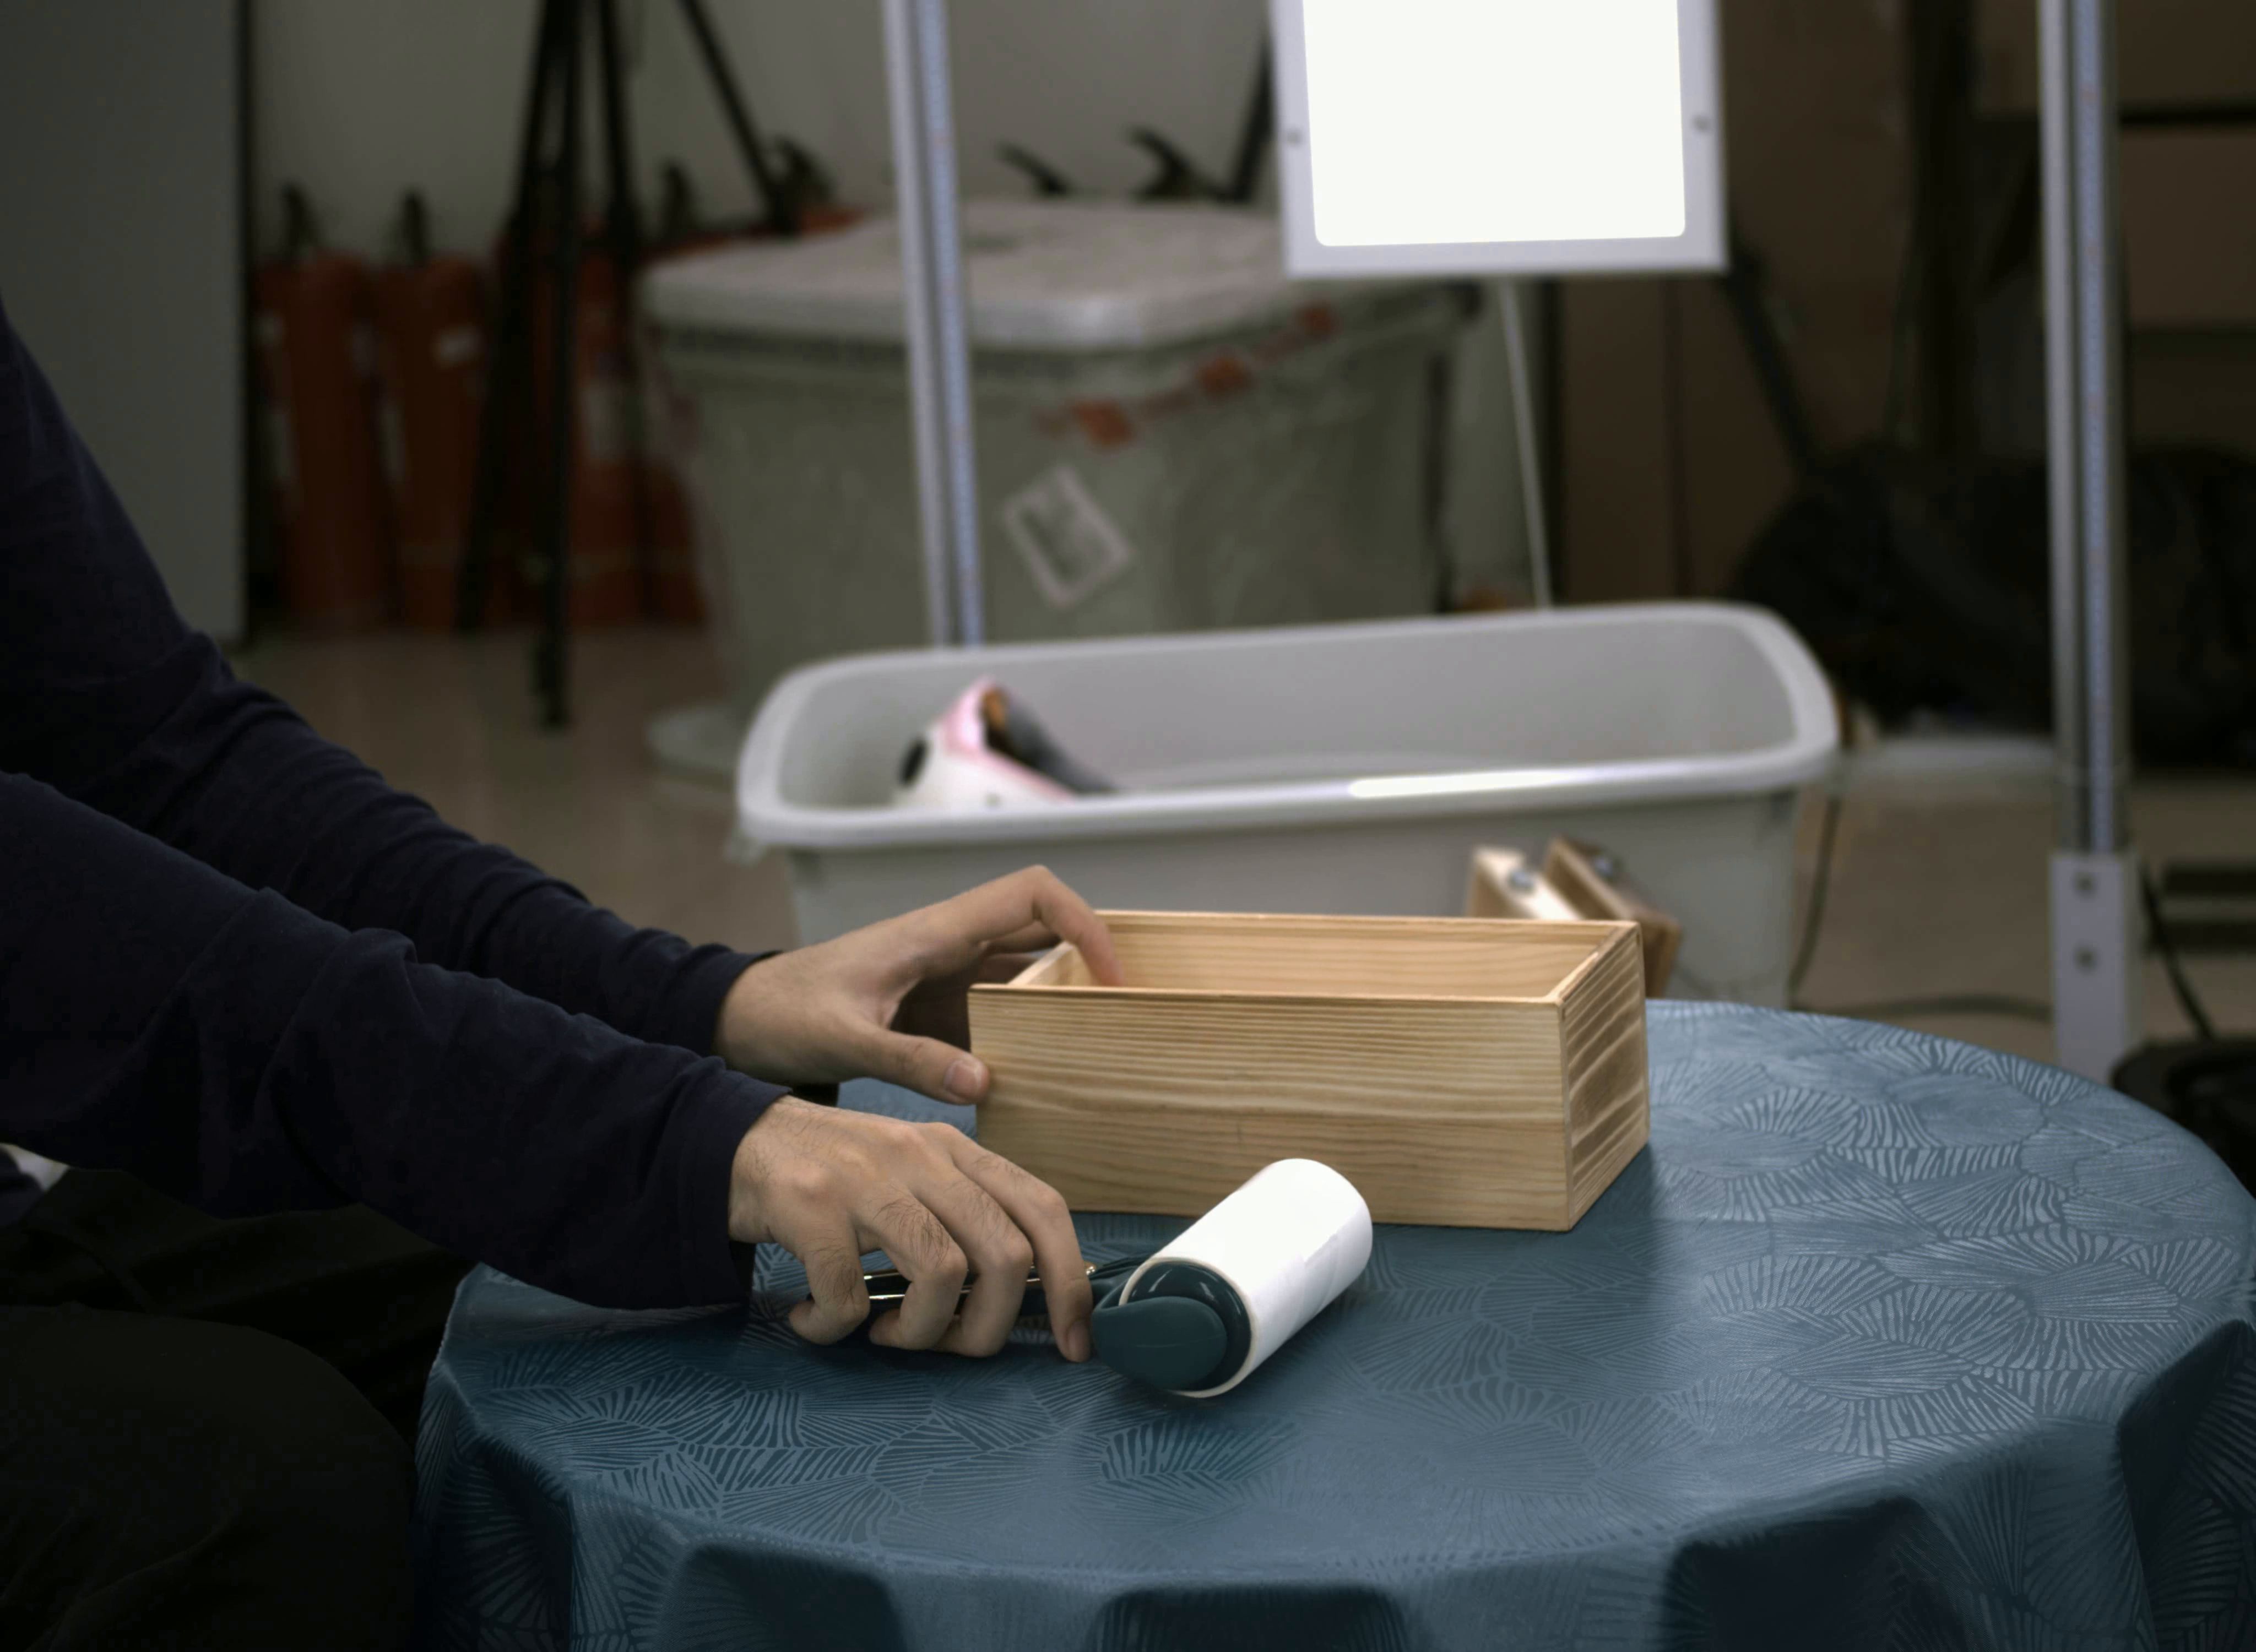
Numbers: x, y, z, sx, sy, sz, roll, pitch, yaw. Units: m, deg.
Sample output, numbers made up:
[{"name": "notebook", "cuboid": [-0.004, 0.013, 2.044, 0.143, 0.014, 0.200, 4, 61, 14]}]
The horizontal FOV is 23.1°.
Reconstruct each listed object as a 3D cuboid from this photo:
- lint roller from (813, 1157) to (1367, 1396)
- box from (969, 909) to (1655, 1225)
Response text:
[{"name": "lint roller", "cuboid": [-0.023, 0.144, 1.759, 0.183, 0.048, 0.131, -4, 13, 26]}, {"name": "box", "cuboid": [0.065, 0.082, 1.894, 0.214, 0.080, 0.105, -1, 15, 23]}]
